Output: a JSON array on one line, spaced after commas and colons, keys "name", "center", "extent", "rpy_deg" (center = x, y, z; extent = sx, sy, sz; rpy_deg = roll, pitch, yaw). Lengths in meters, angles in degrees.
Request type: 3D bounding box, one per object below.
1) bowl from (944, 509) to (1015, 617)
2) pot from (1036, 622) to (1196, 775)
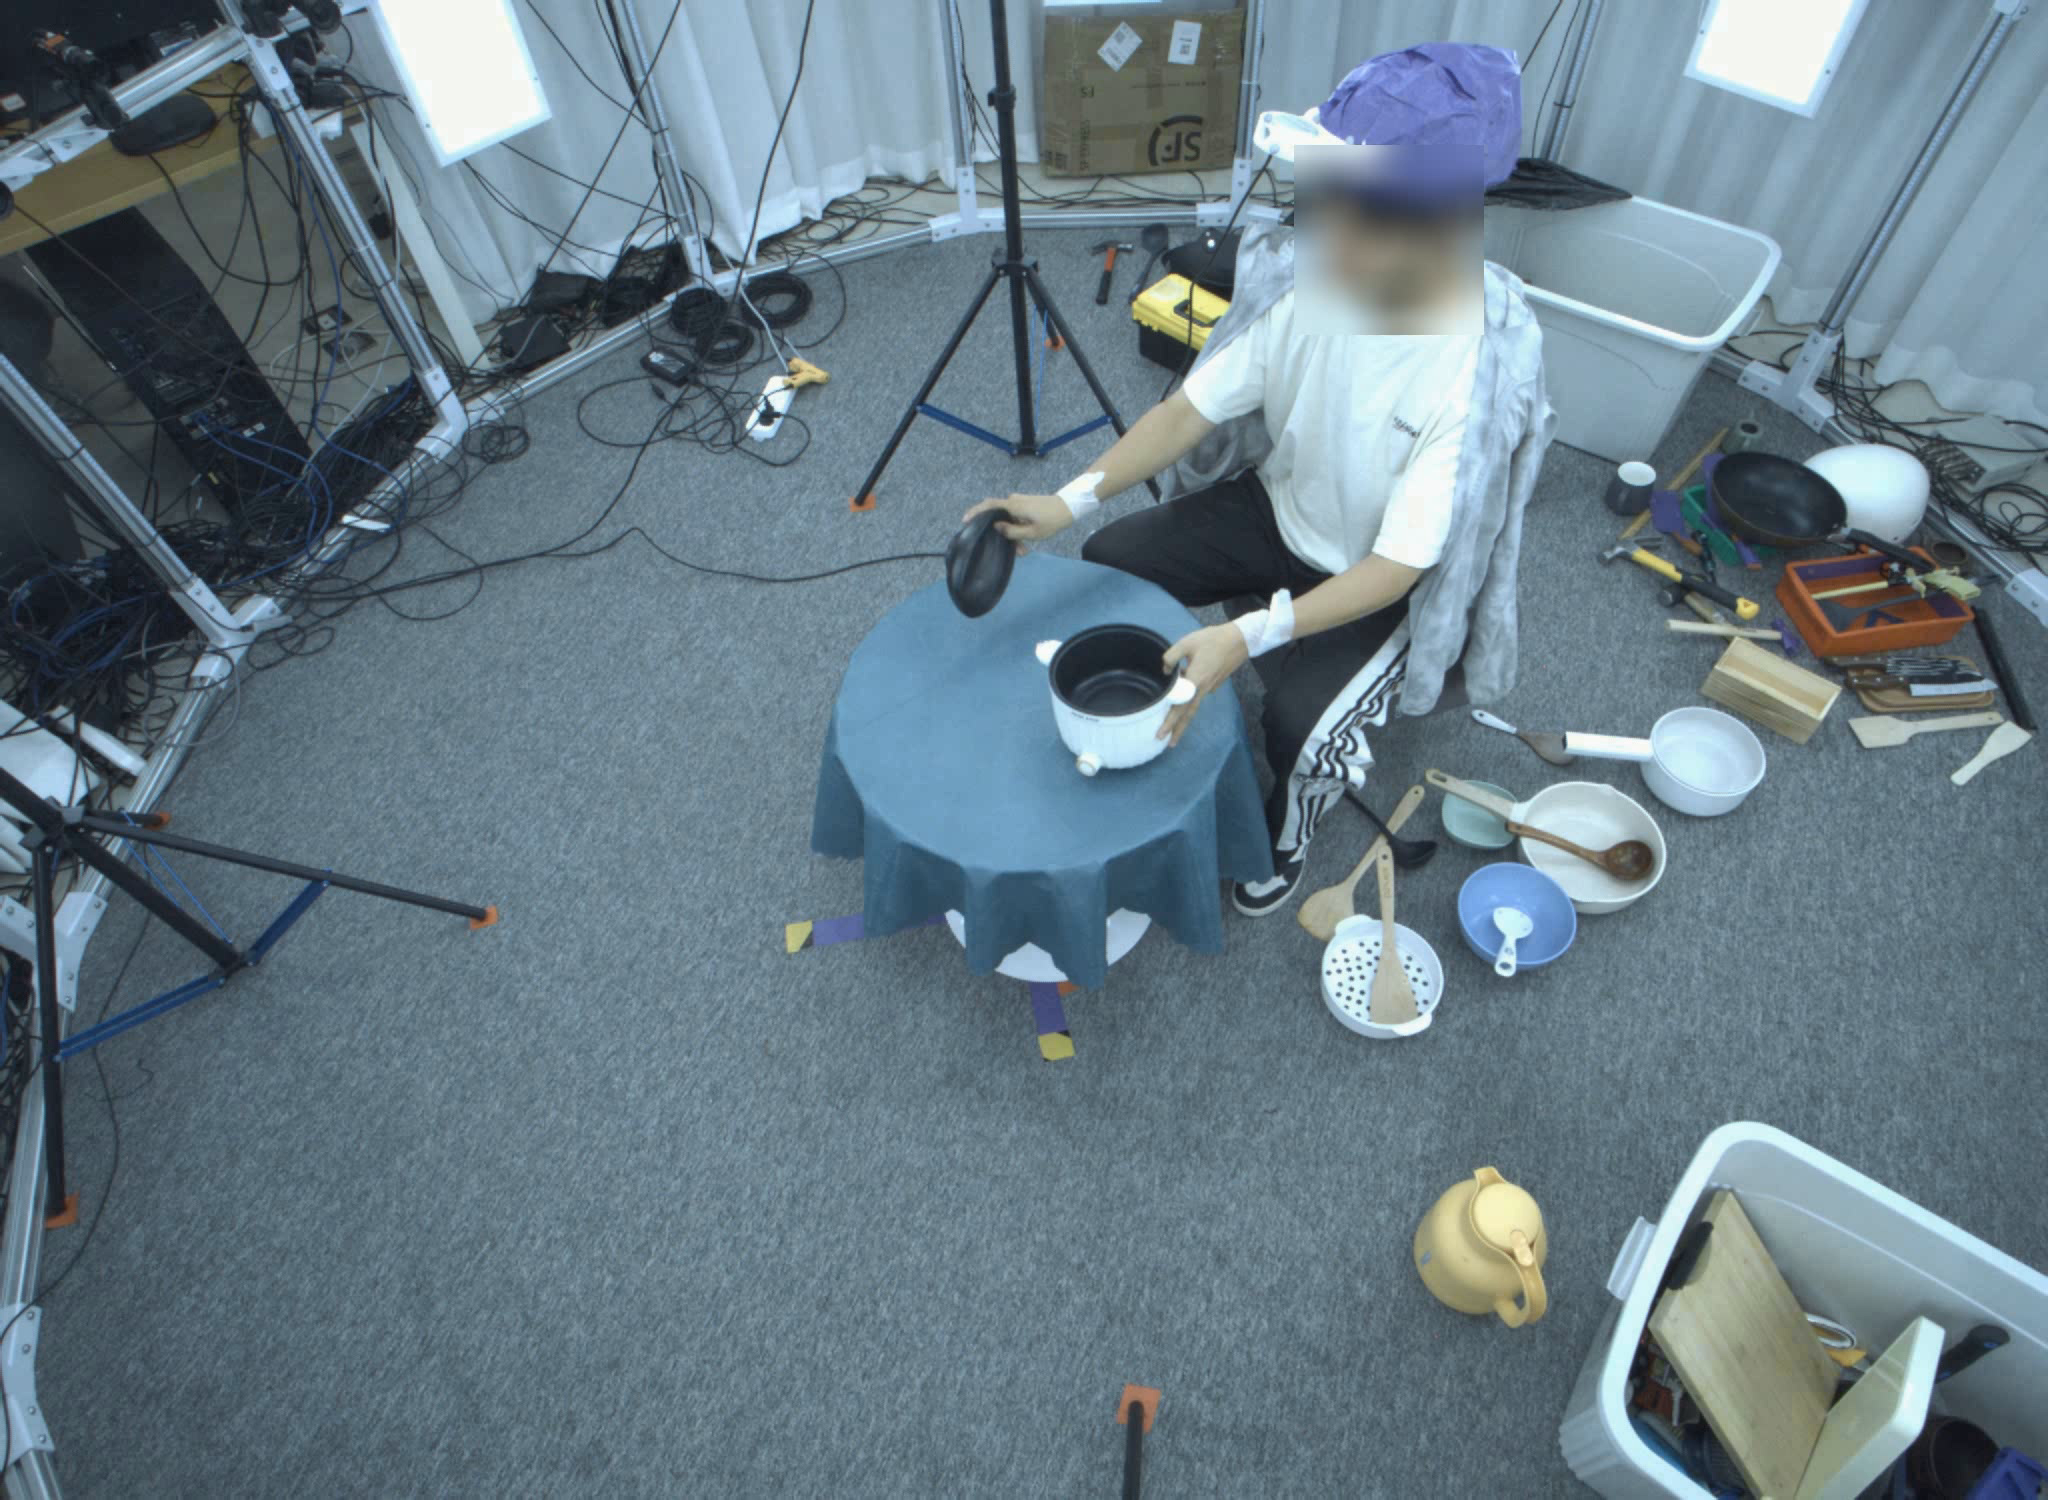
[{"name": "bowl", "center": [-0.076, -0.285, 1.815], "extent": [0.065, 0.139, 0.170], "rpy_deg": [21, 84, 22]}, {"name": "pot", "center": [0.129, -0.067, 1.739], "extent": [0.236, 0.144, 0.191], "rpy_deg": [18, 51, 23]}]
